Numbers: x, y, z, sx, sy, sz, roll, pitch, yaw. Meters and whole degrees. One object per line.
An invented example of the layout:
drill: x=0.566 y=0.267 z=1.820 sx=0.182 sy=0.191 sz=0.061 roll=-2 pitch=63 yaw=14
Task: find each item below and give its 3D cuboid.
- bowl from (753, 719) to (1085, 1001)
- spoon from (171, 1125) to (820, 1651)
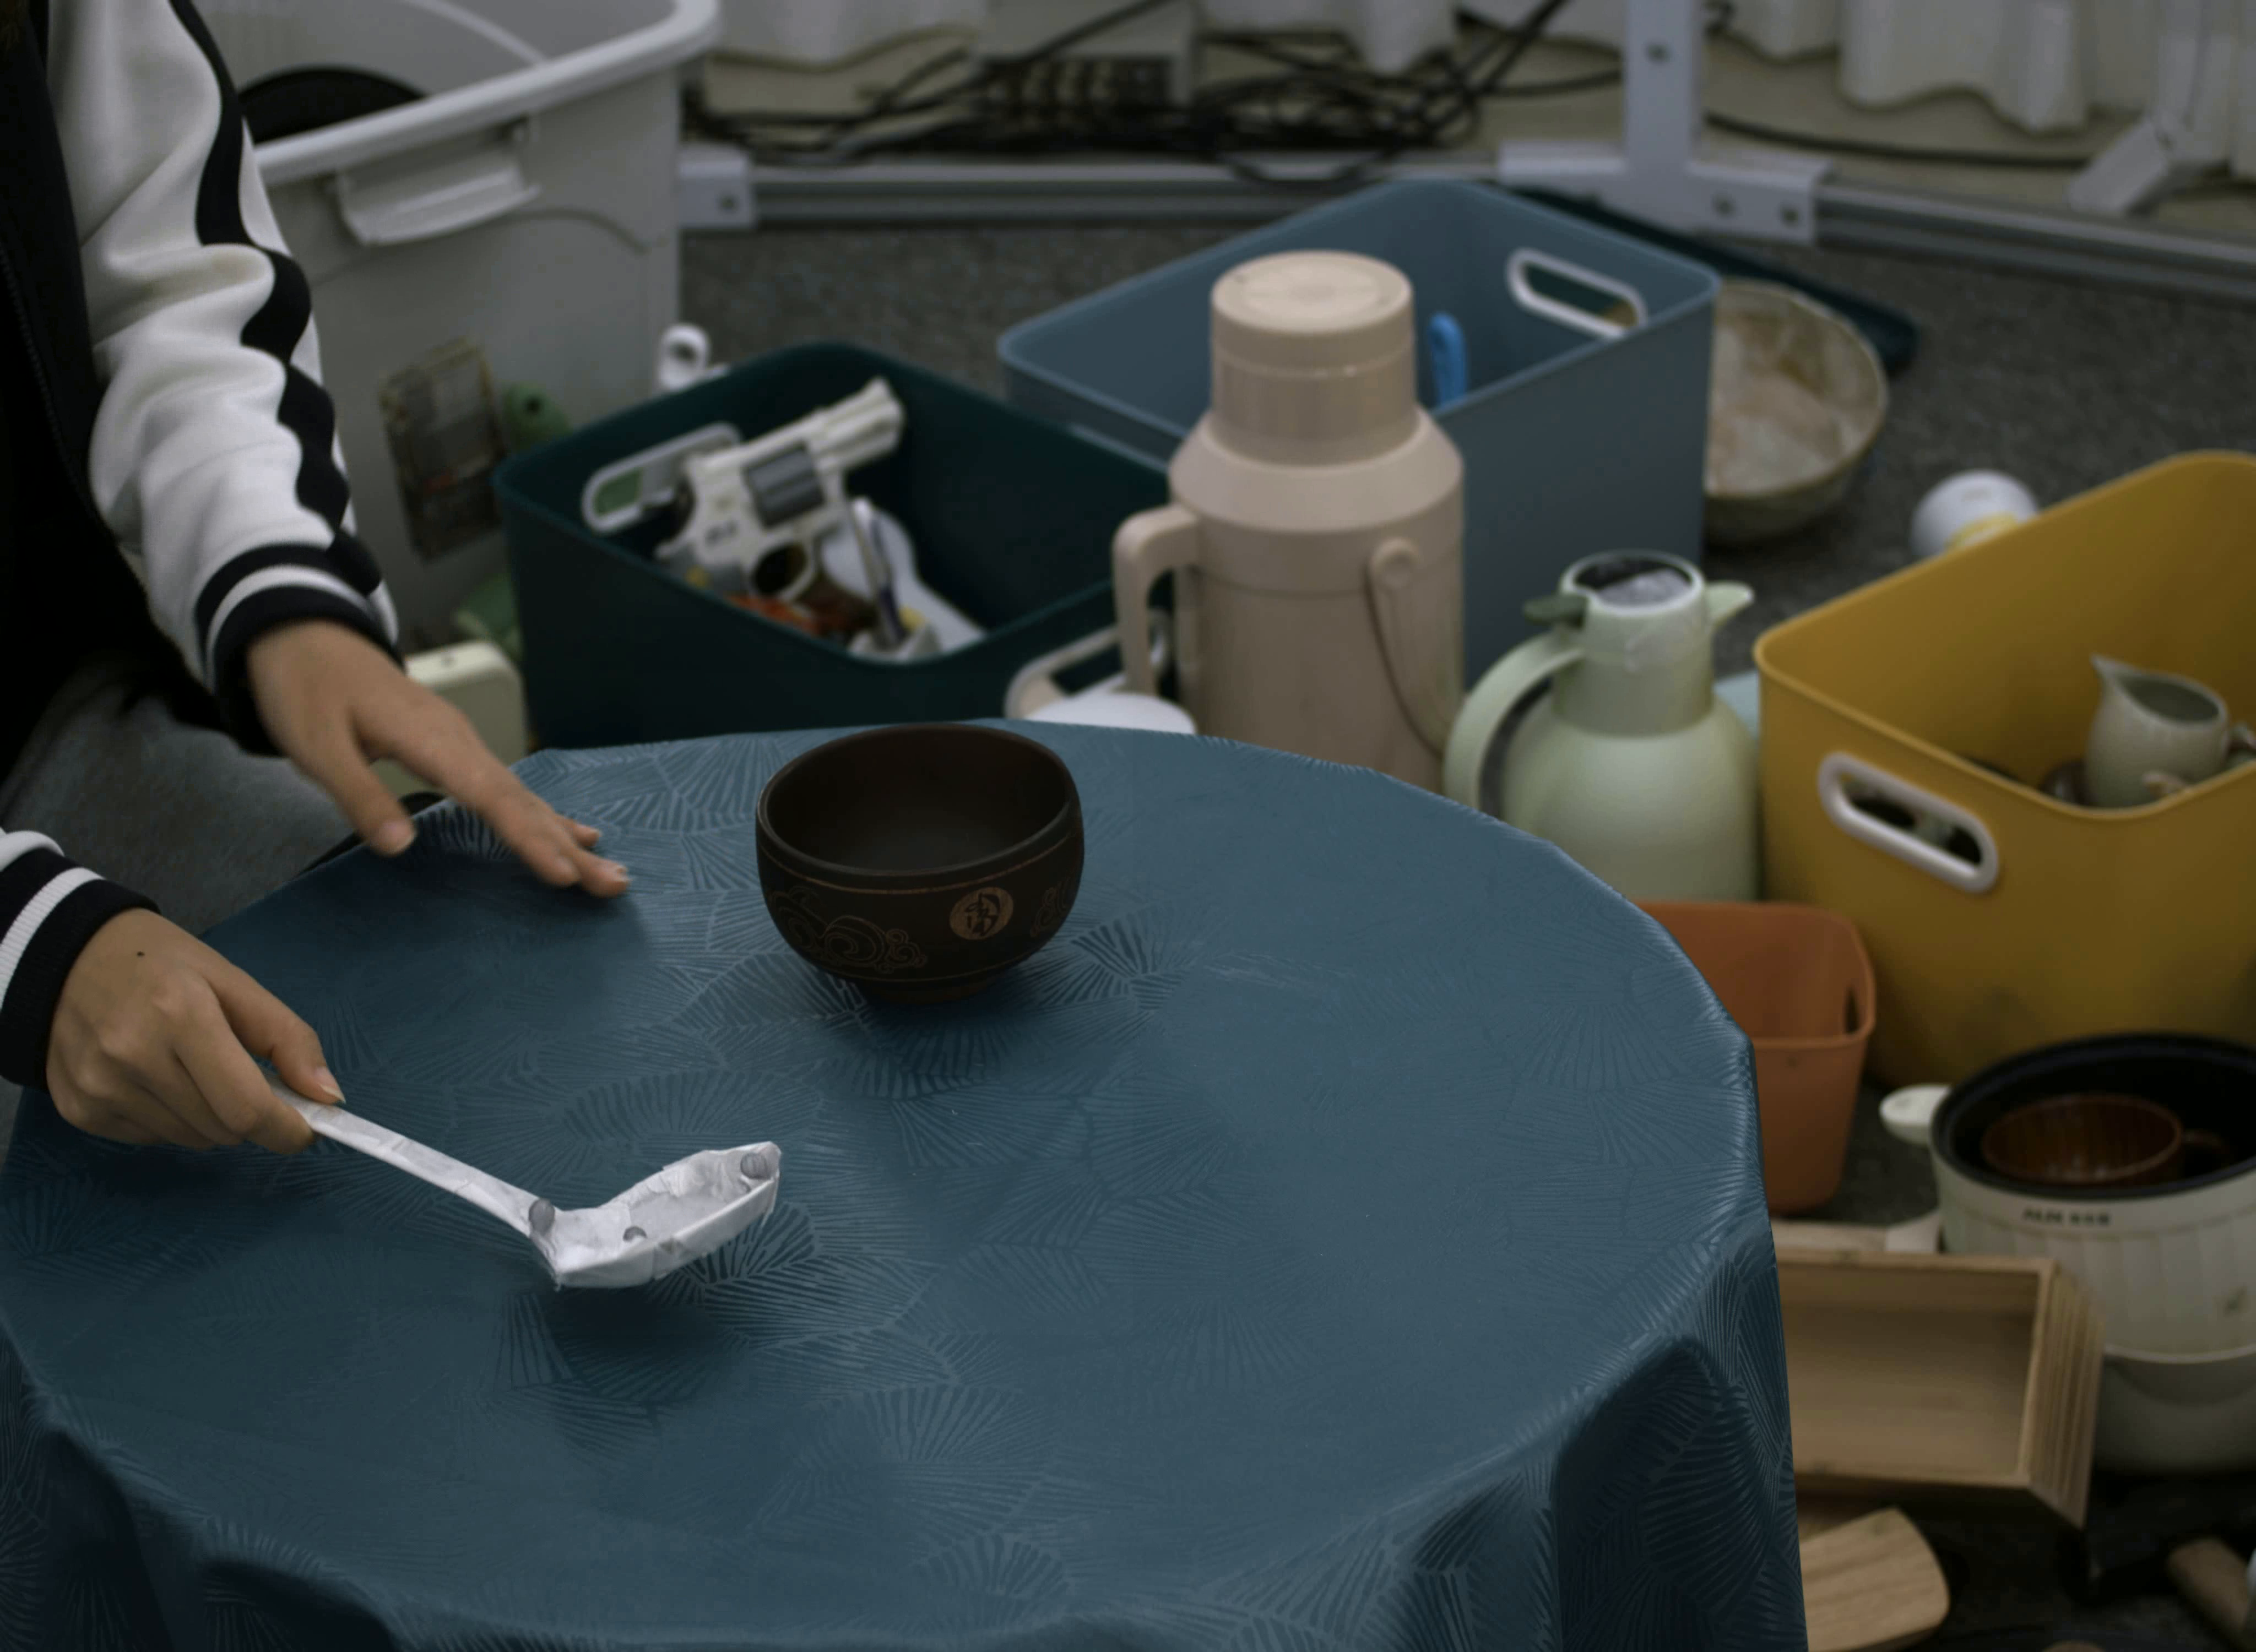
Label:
bowl: x=-0.073 y=0.018 z=1.989 sx=0.117 sy=0.069 sz=0.120 roll=-2 pitch=27 yaw=1
spoon: x=-0.209 y=0.193 z=1.831 sx=0.059 sy=0.276 sz=0.101 roll=41 pitch=10 yaw=2
